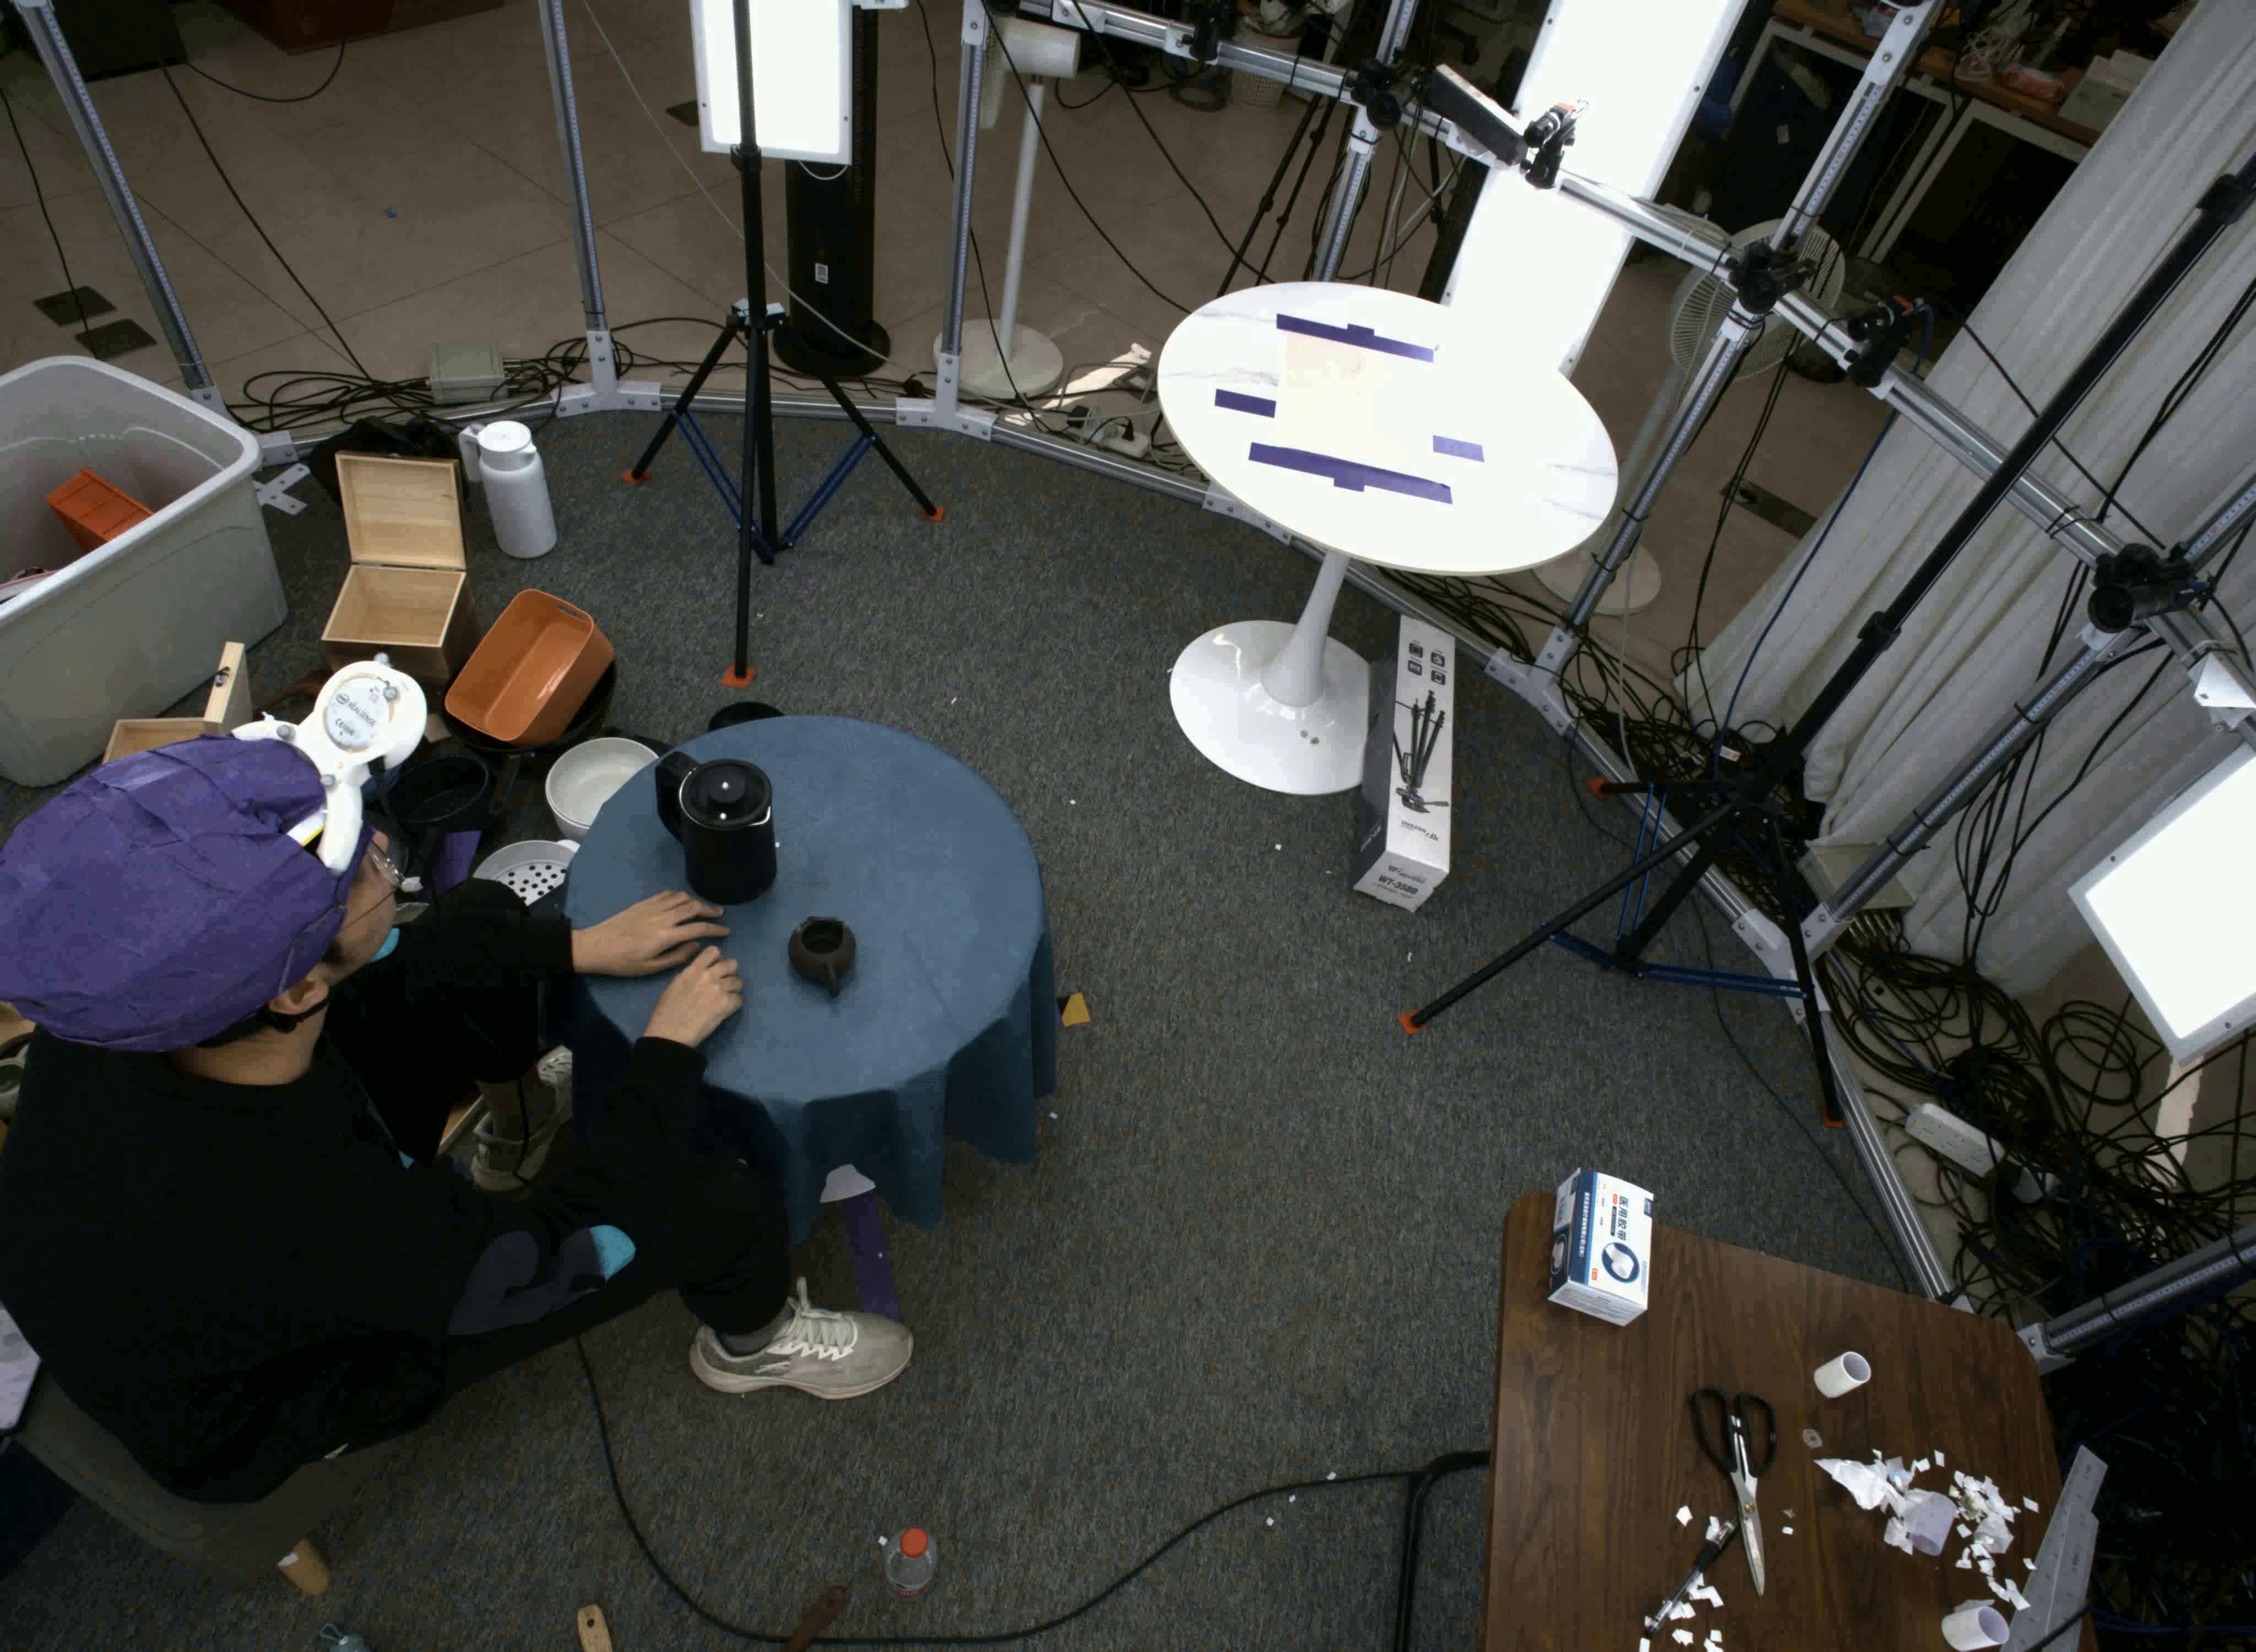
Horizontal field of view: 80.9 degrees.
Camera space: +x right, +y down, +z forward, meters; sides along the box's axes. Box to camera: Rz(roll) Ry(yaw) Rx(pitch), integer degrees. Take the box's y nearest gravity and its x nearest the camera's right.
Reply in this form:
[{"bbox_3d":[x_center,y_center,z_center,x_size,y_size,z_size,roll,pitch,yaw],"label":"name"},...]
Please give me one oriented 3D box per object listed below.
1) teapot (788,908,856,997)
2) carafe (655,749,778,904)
[{"bbox_3d":[-0.375,0.156,1.595,0.083,0.054,0.111,-8,53,-18],"label":"teapot"},{"bbox_3d":[-0.514,-0.009,1.602,0.169,0.176,0.114,31,54,8],"label":"carafe"}]
